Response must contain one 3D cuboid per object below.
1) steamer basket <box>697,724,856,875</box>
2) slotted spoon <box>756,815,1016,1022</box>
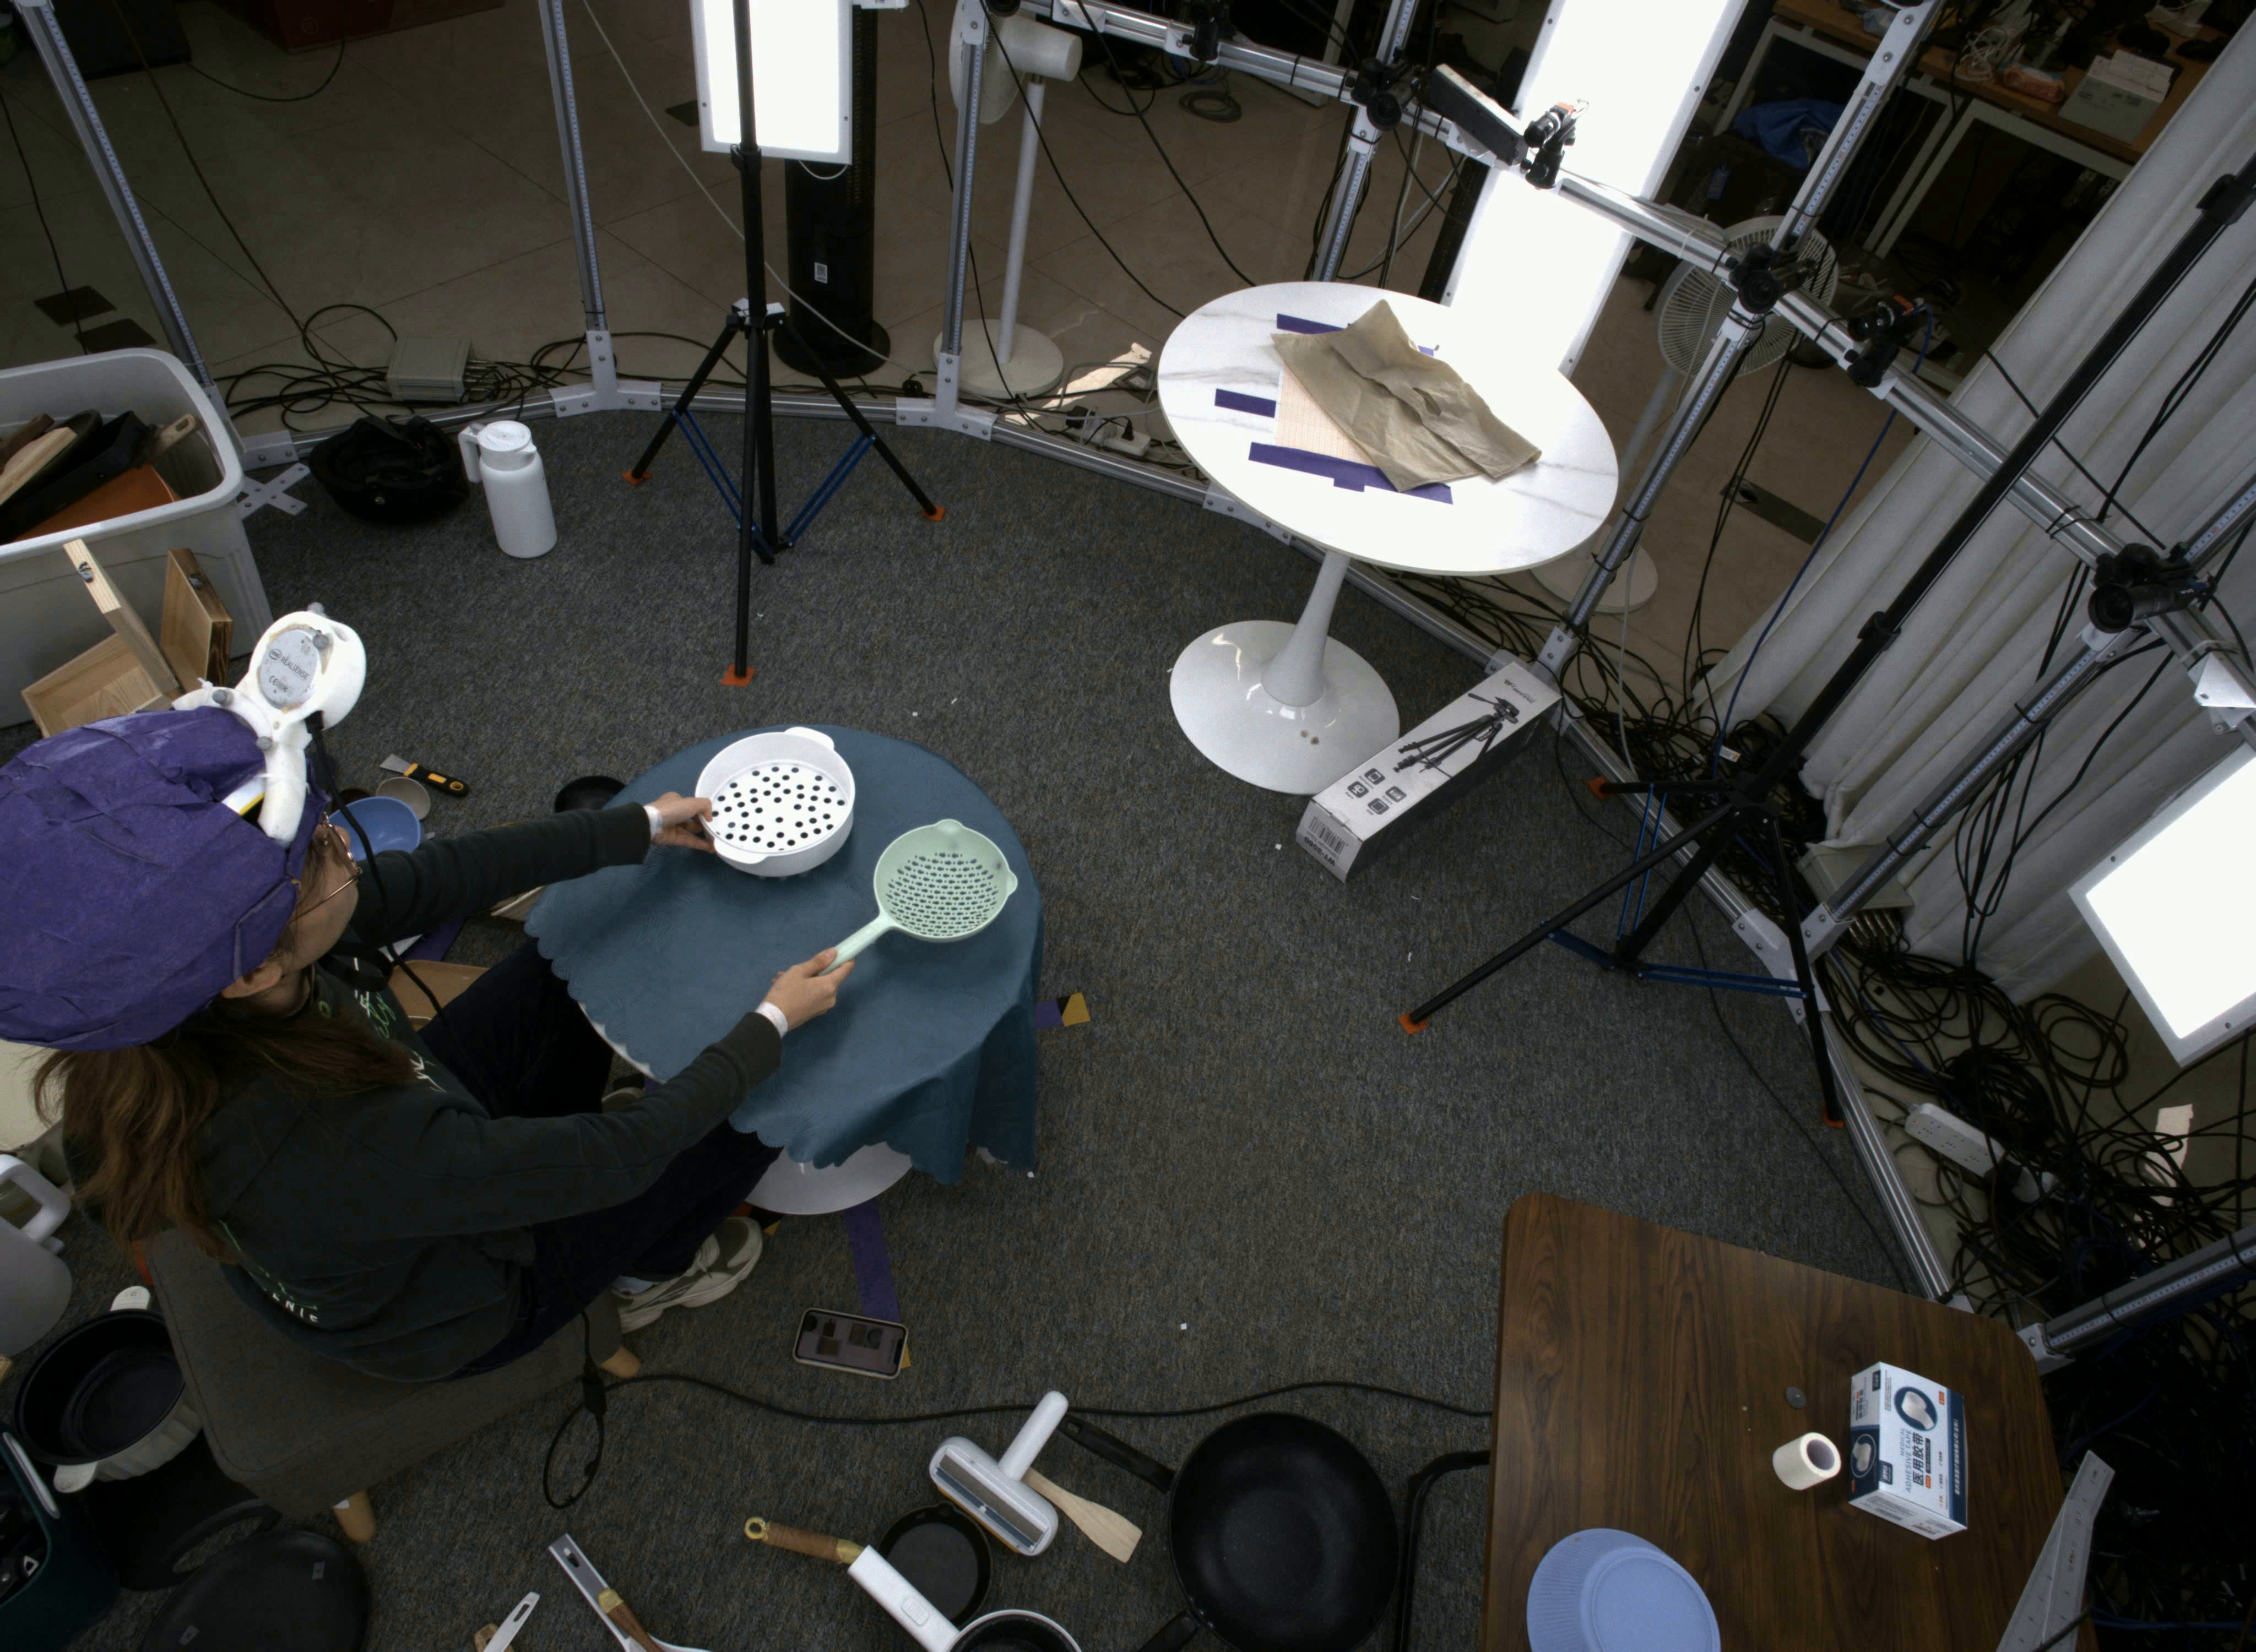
[{"bbox_3d":[-0.457,-0.030,1.695,0.199,0.071,0.228,17,53,3],"label":"steamer basket"},{"bbox_3d":[-0.302,0.121,1.587,0.165,0.077,0.360,42,51,19],"label":"slotted spoon"}]
